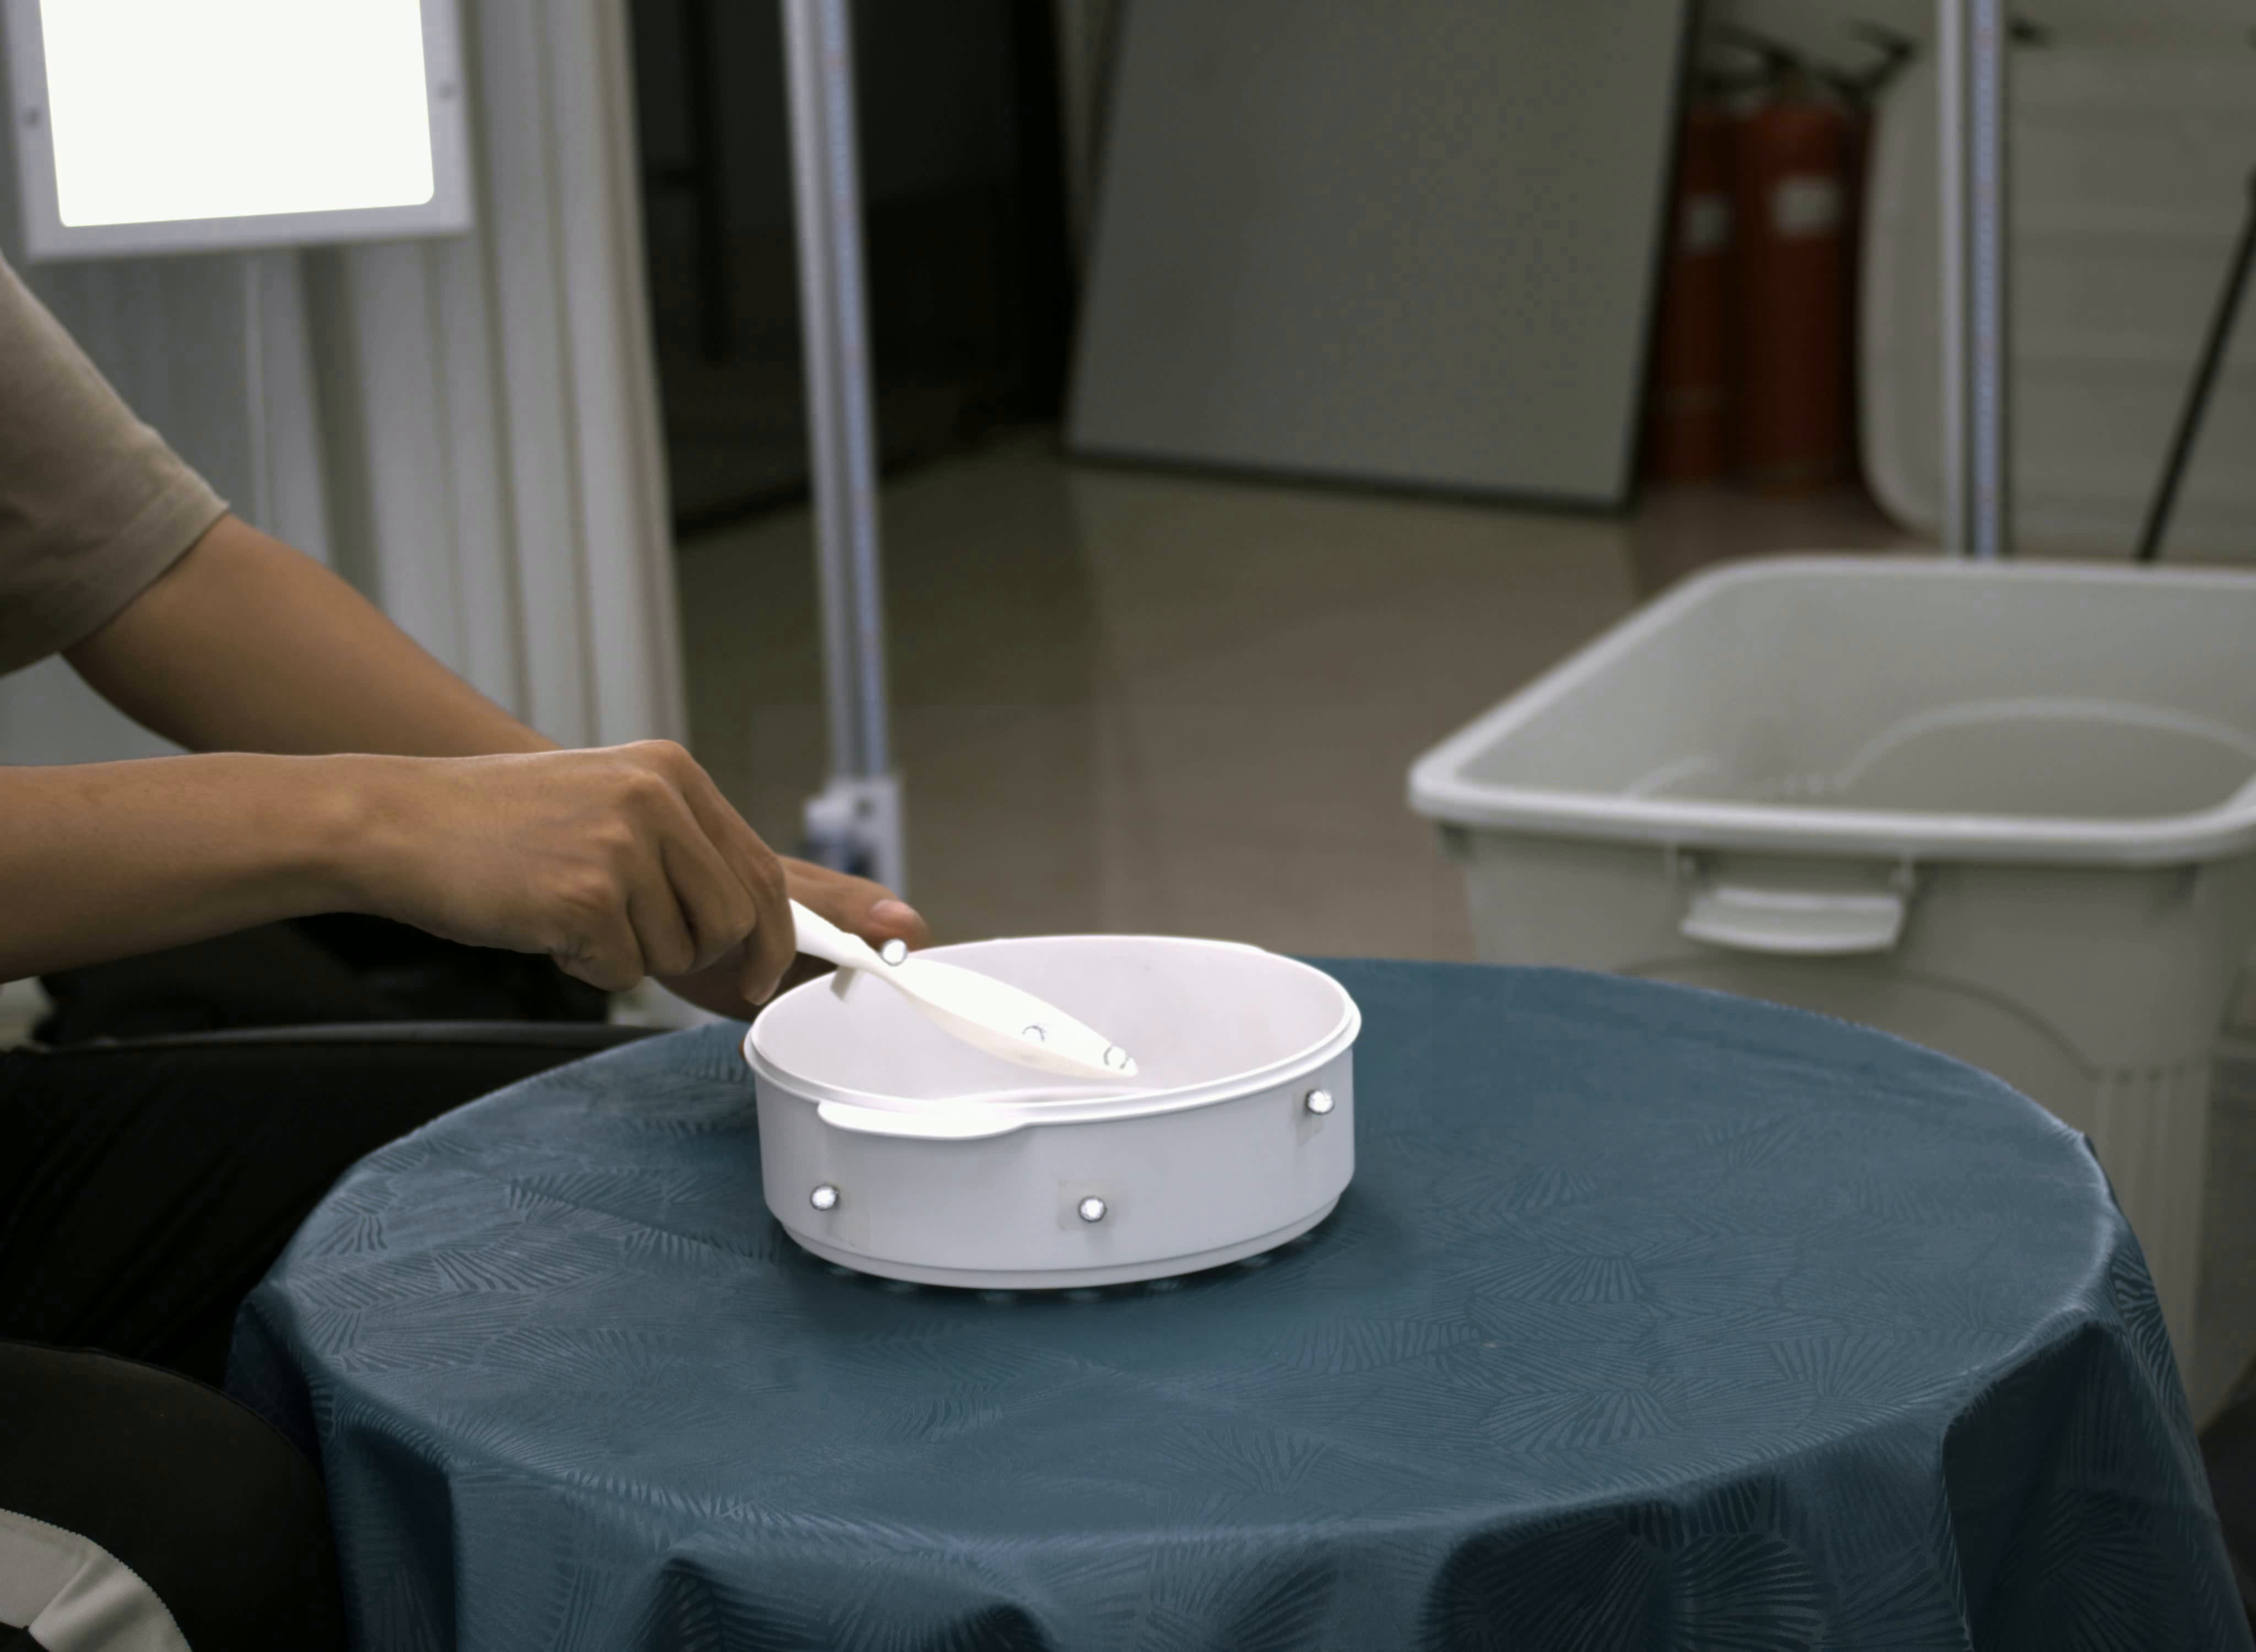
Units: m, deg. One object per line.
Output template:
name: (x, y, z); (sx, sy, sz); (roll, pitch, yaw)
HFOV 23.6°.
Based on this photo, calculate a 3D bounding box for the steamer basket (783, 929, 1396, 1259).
steamer basket: (-0.012, 0.087, 1.757); (0.202, 0.070, 0.227); (3, 13, 26)

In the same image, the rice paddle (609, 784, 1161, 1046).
rice paddle: (-0.072, 0.032, 1.732); (0.201, 0.030, 0.069); (21, 10, -29)
